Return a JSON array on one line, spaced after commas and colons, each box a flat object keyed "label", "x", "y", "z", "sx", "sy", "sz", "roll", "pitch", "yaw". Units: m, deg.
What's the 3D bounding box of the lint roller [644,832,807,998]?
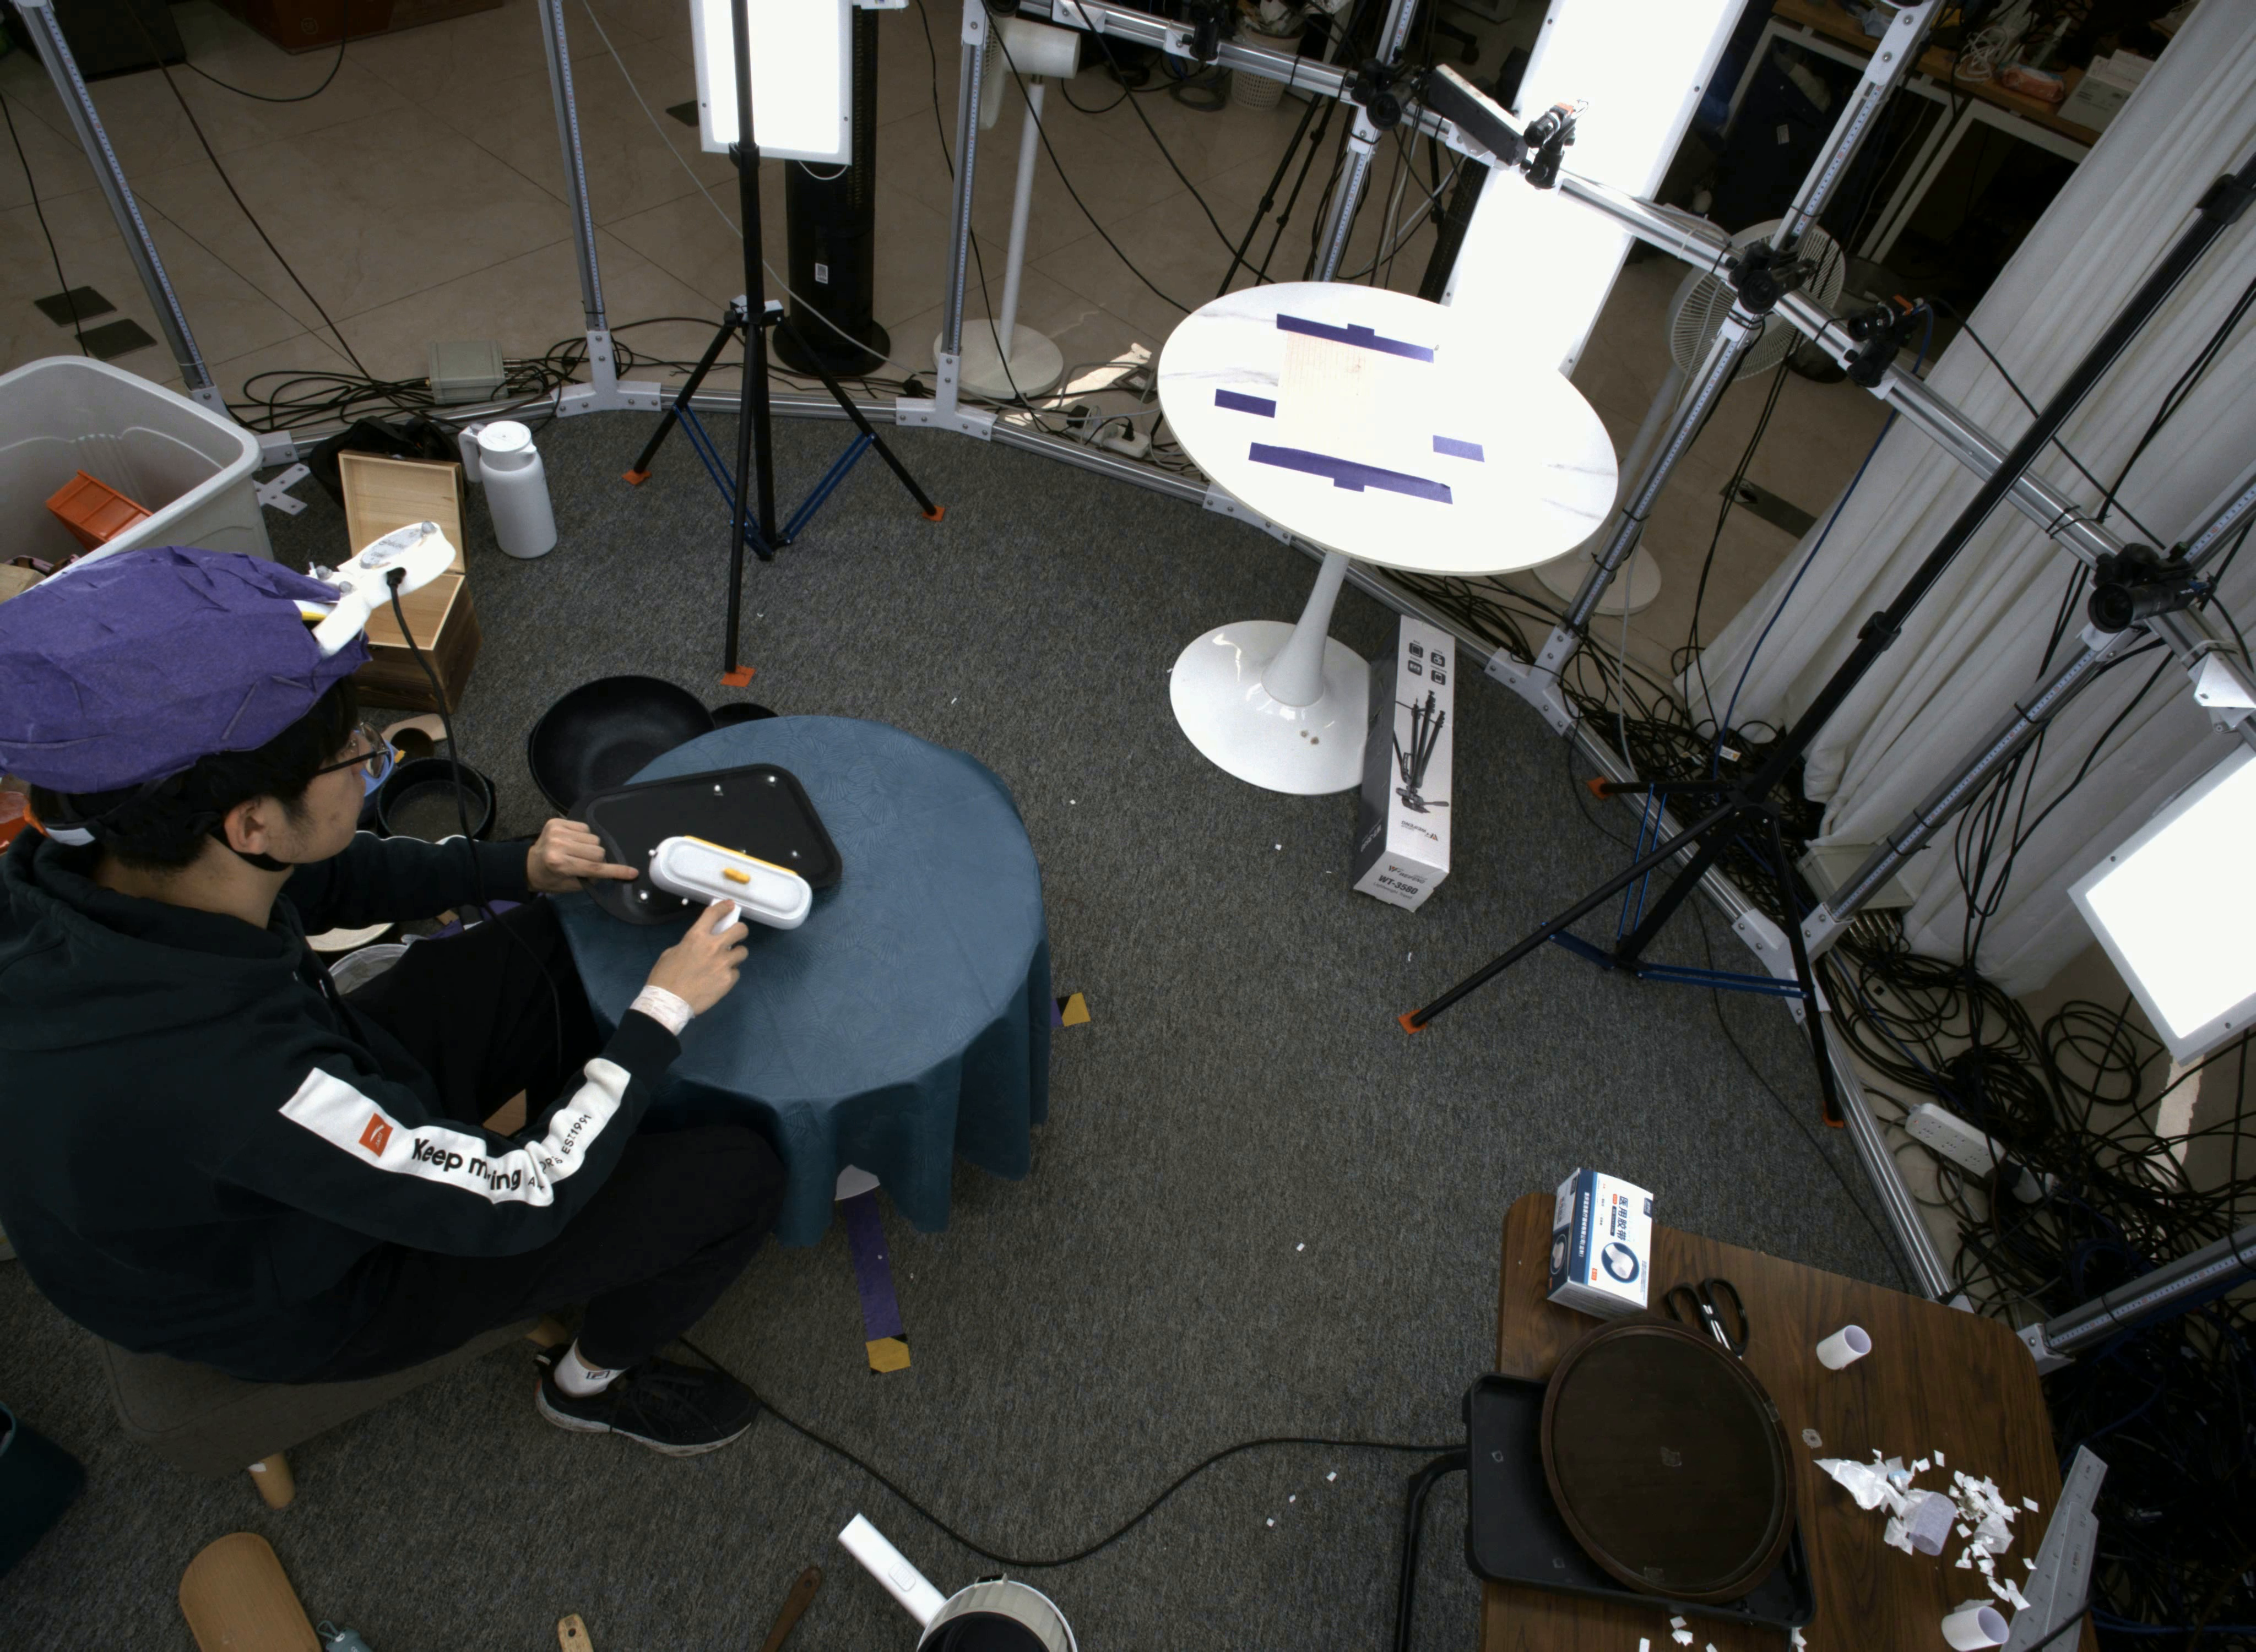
[{"label": "lint roller", "x": -0.477, "y": 0.111, "z": 1.505, "sx": 0.197, "sy": 0.073, "sz": 0.190, "roll": 21, "pitch": 59, "yaw": -29}]

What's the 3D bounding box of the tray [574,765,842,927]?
[{"label": "tray", "x": -0.528, "y": 0.018, "z": 1.607, "sx": 0.329, "sy": 0.010, "sz": 0.207, "roll": -13, "pitch": 61, "yaw": -40}]
